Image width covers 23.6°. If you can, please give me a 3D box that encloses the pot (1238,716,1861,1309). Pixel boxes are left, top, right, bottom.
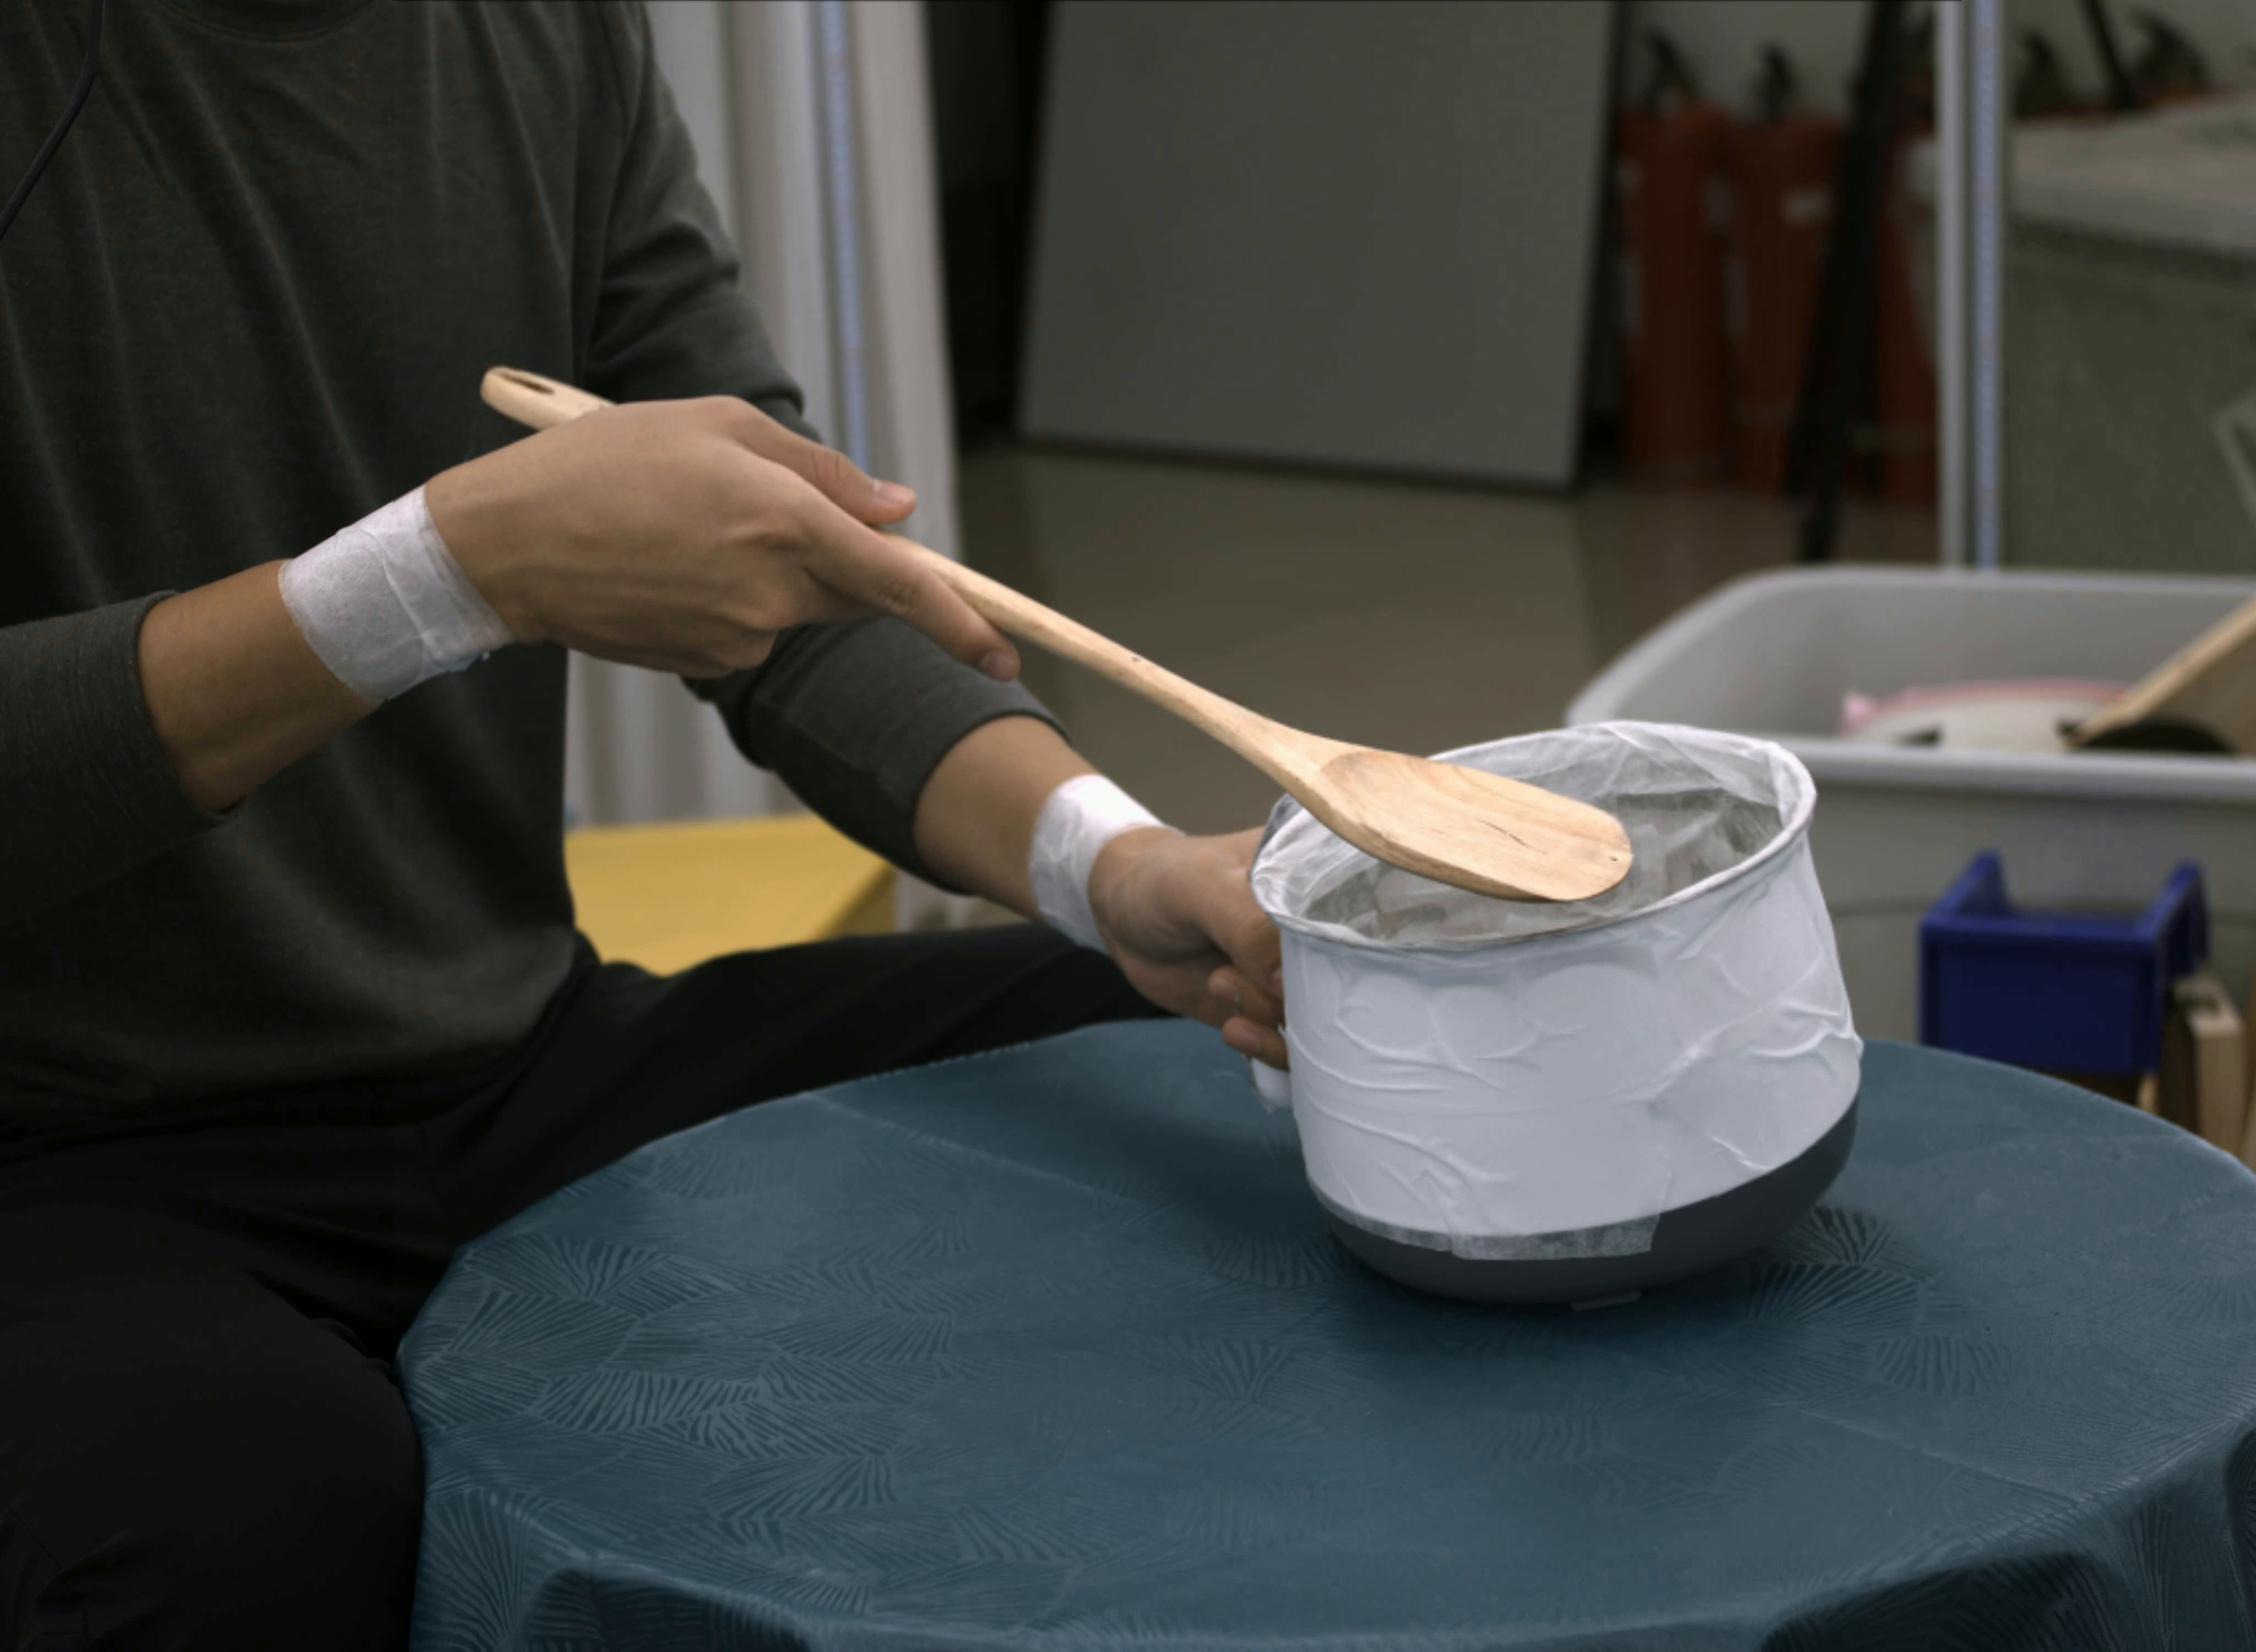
[{"bbox_3d":[0.117,0.054,1.688,0.175,0.138,0.236,-25,23,-37],"label":"pot"}]

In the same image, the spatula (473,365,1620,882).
[{"bbox_3d":[-0.032,-0.062,1.607,0.391,0.018,0.094,26,18,17],"label":"spatula"}]
